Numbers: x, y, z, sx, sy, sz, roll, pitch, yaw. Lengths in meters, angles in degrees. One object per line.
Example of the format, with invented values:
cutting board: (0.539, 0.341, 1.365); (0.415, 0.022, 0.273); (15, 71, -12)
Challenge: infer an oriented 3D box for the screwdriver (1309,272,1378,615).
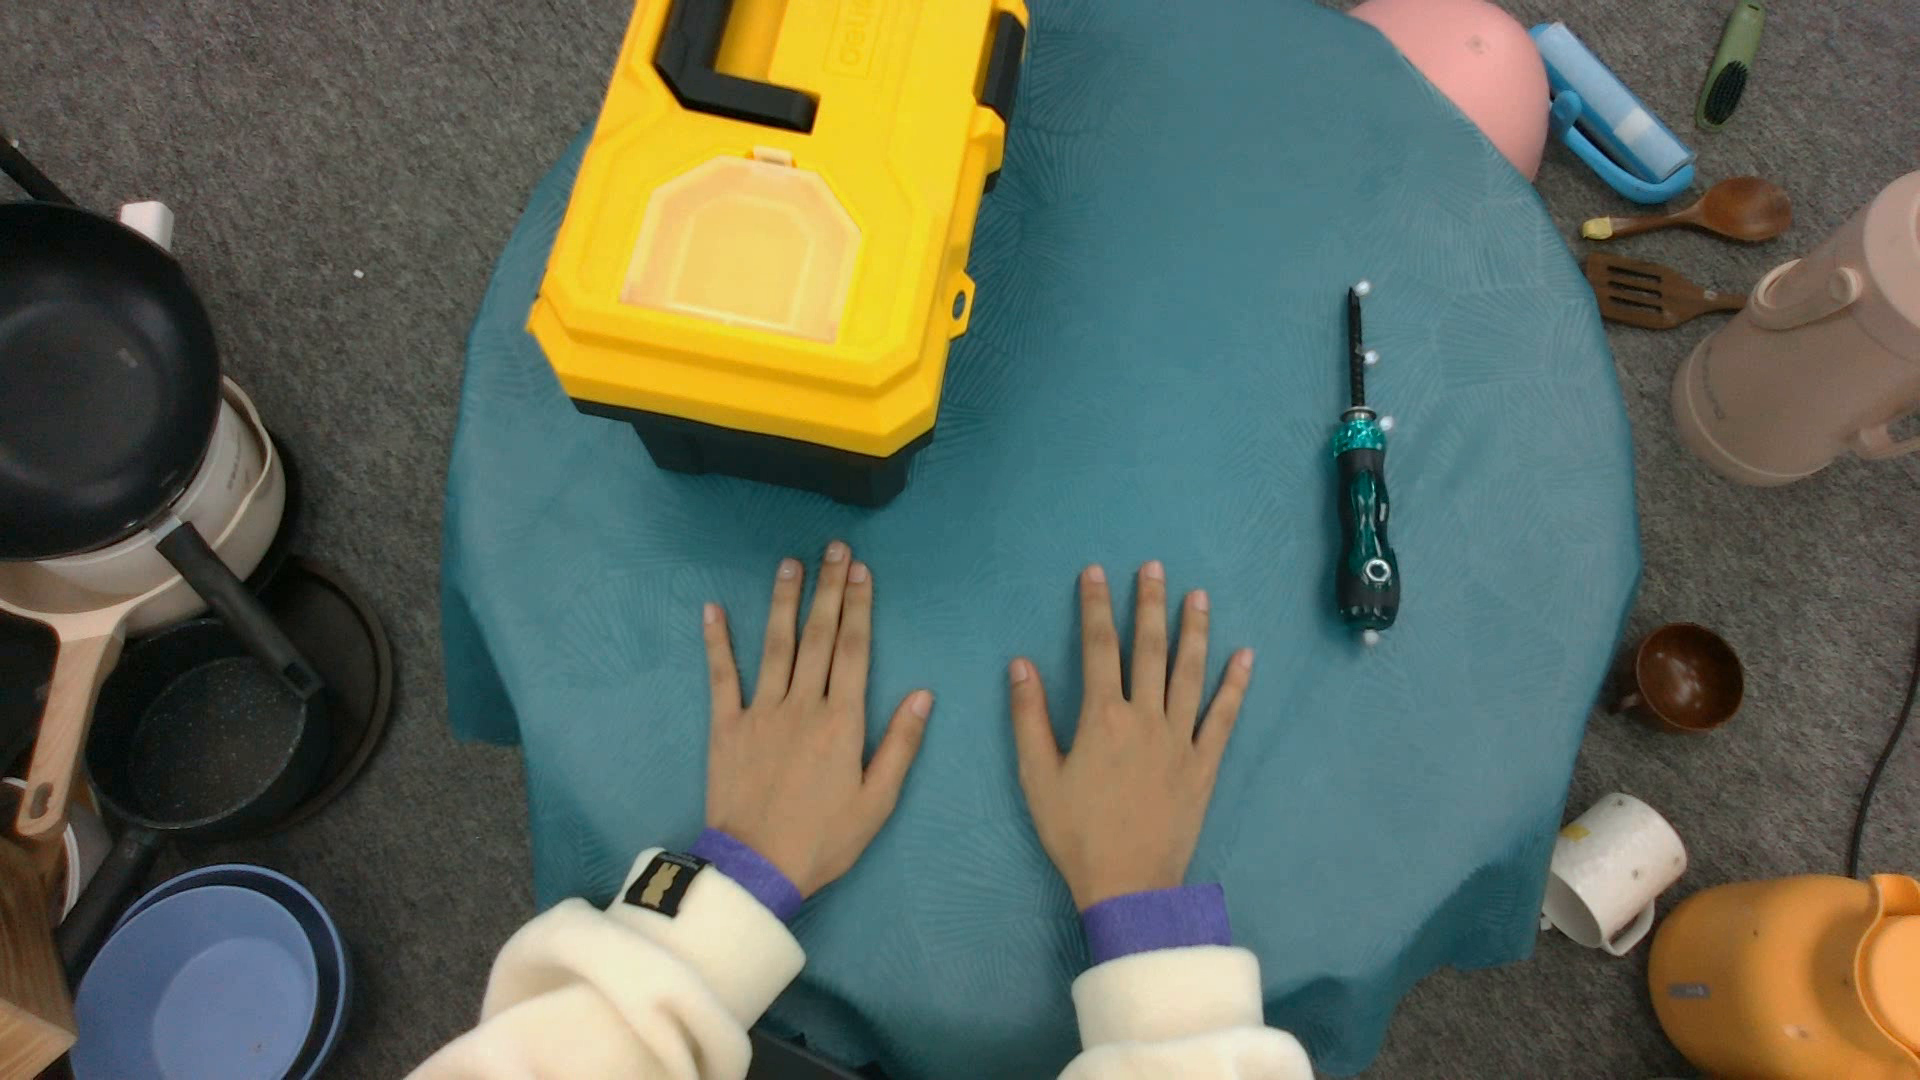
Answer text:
screwdriver: (0.191, -0.054, 0.698); (0.034, 0.033, 0.190); (4, 67, -1)

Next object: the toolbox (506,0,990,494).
toolbox: (-0.075, -0.204, 0.652); (0.181, 0.172, 0.352); (11, 71, 1)
